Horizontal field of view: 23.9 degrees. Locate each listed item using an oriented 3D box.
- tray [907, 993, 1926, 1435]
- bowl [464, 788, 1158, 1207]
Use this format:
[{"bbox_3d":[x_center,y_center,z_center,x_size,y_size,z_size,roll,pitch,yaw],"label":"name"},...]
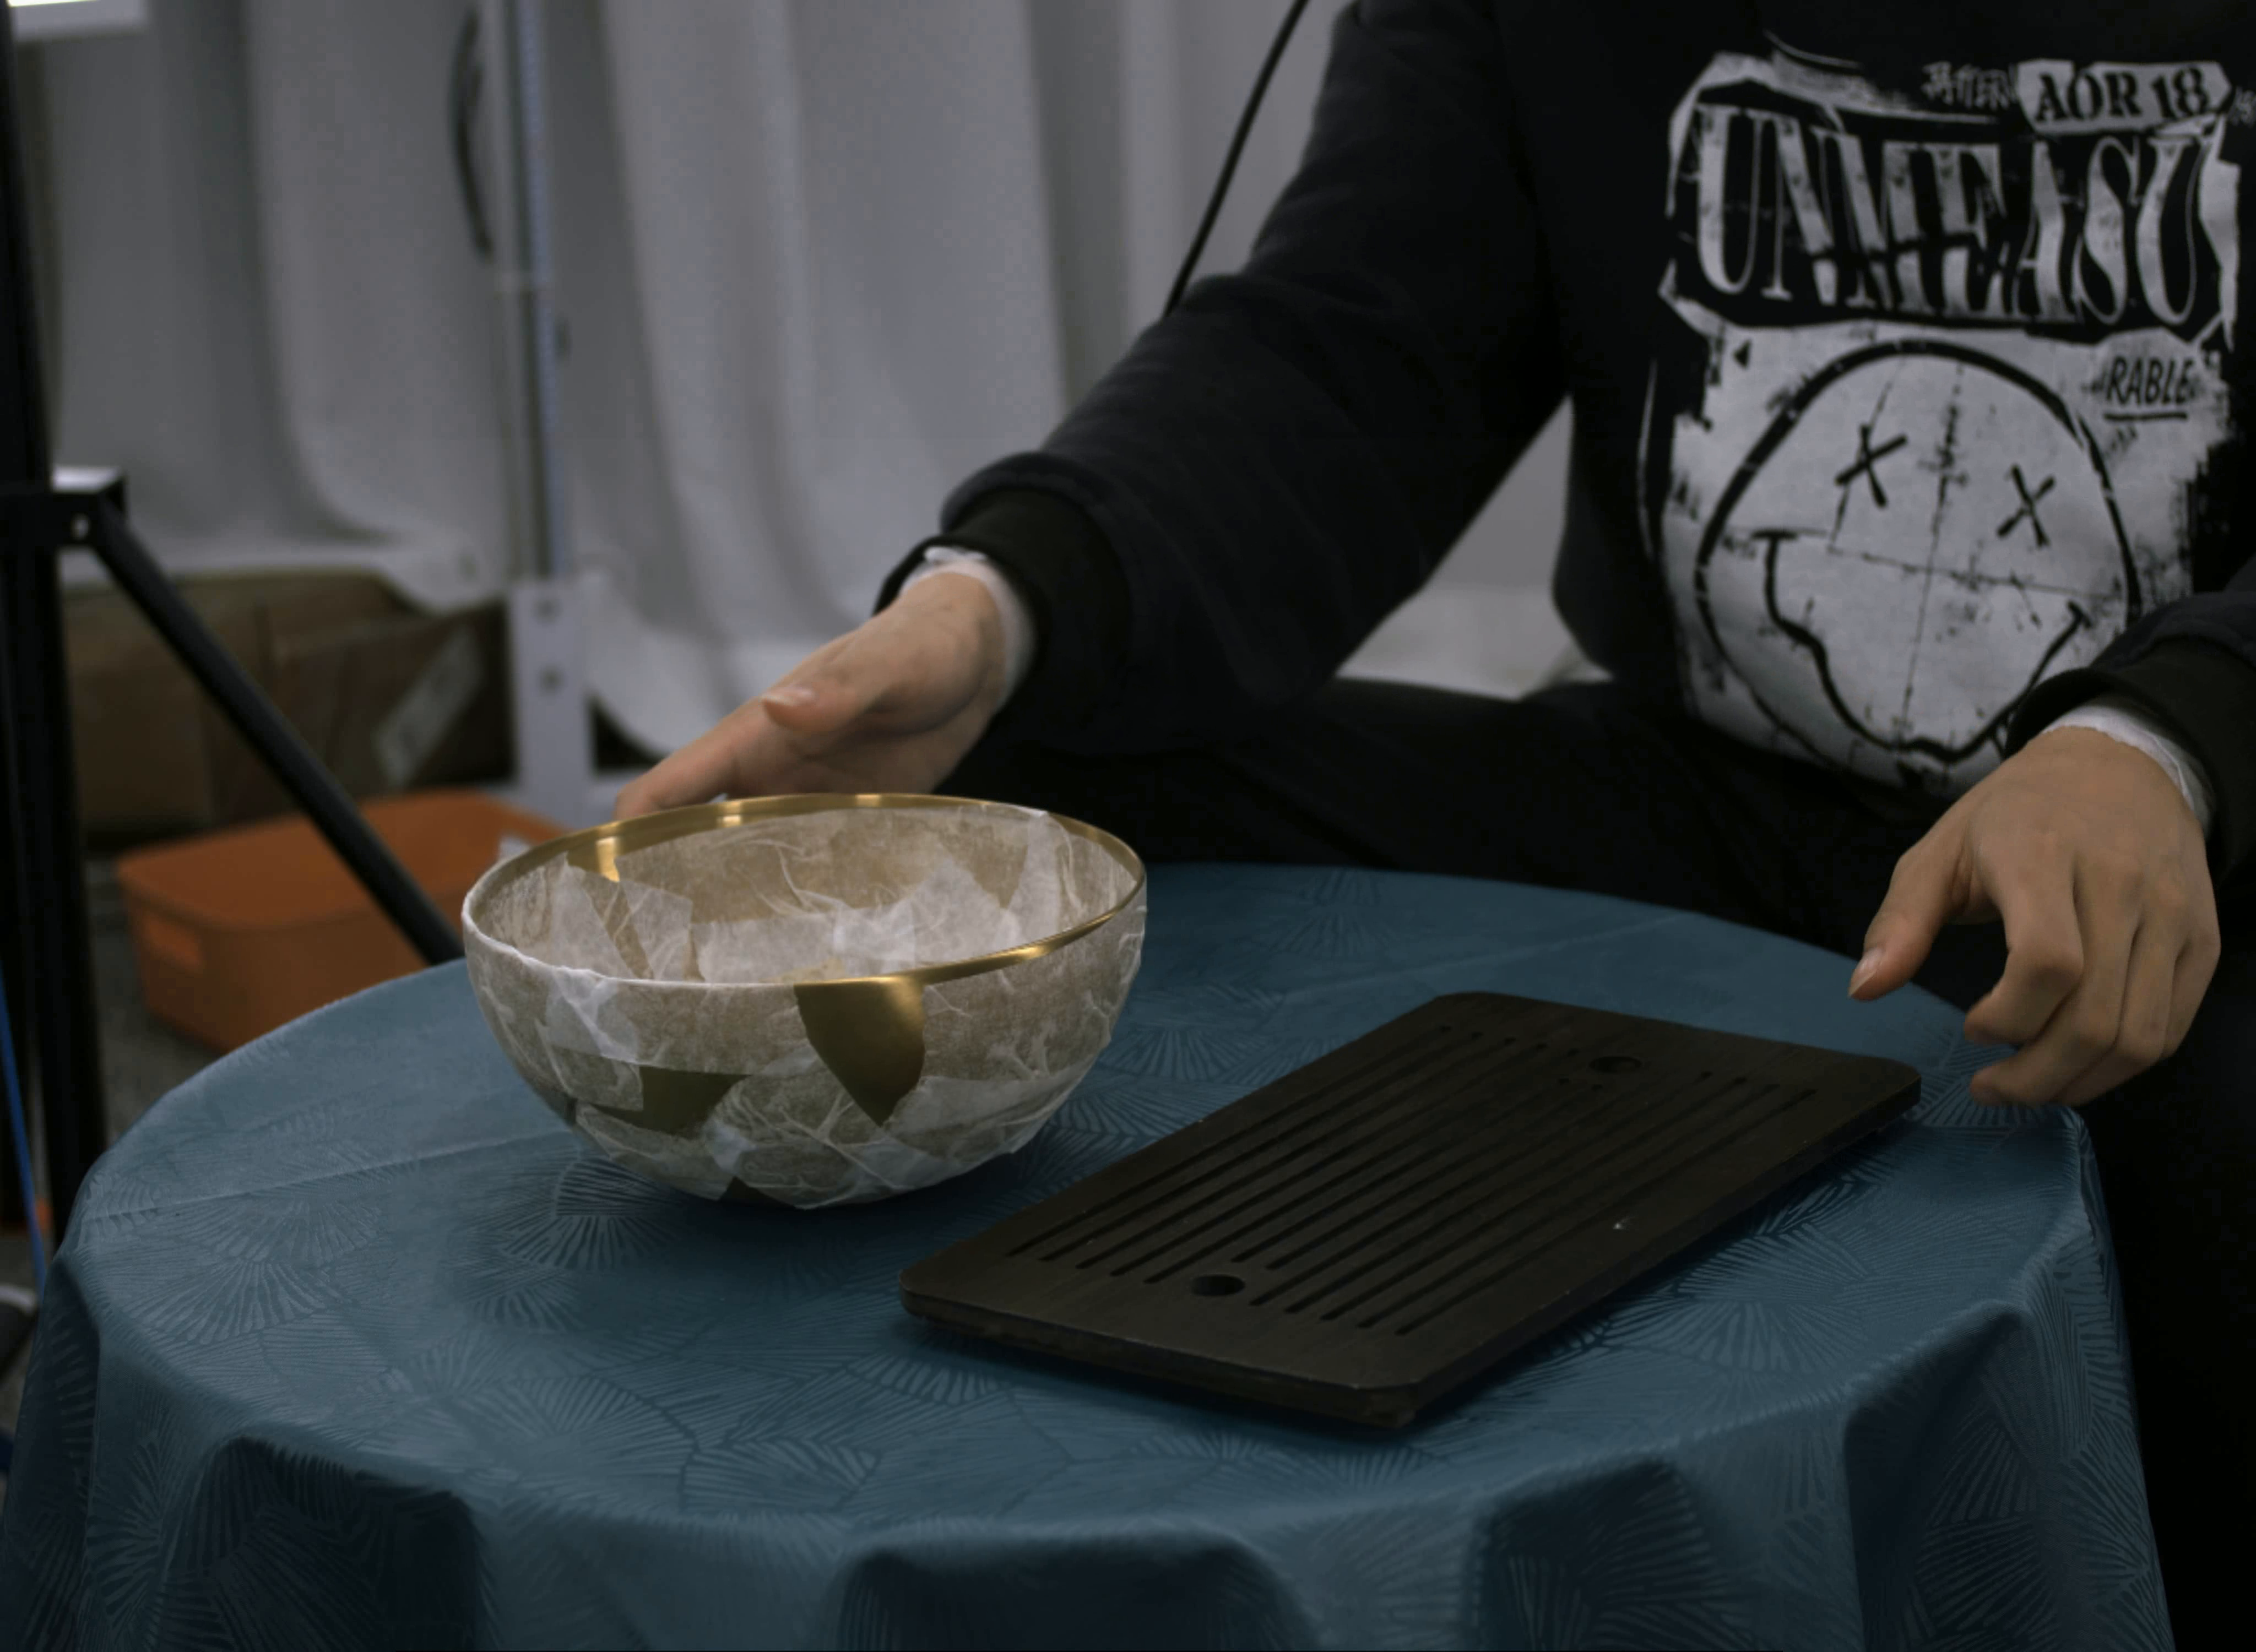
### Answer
[{"bbox_3d":[0.089,0.107,1.514,0.173,0.018,0.300,9,19,35],"label":"tray"},{"bbox_3d":[-0.089,0.058,1.578,0.213,0.094,0.216,-4,15,0],"label":"bowl"}]
